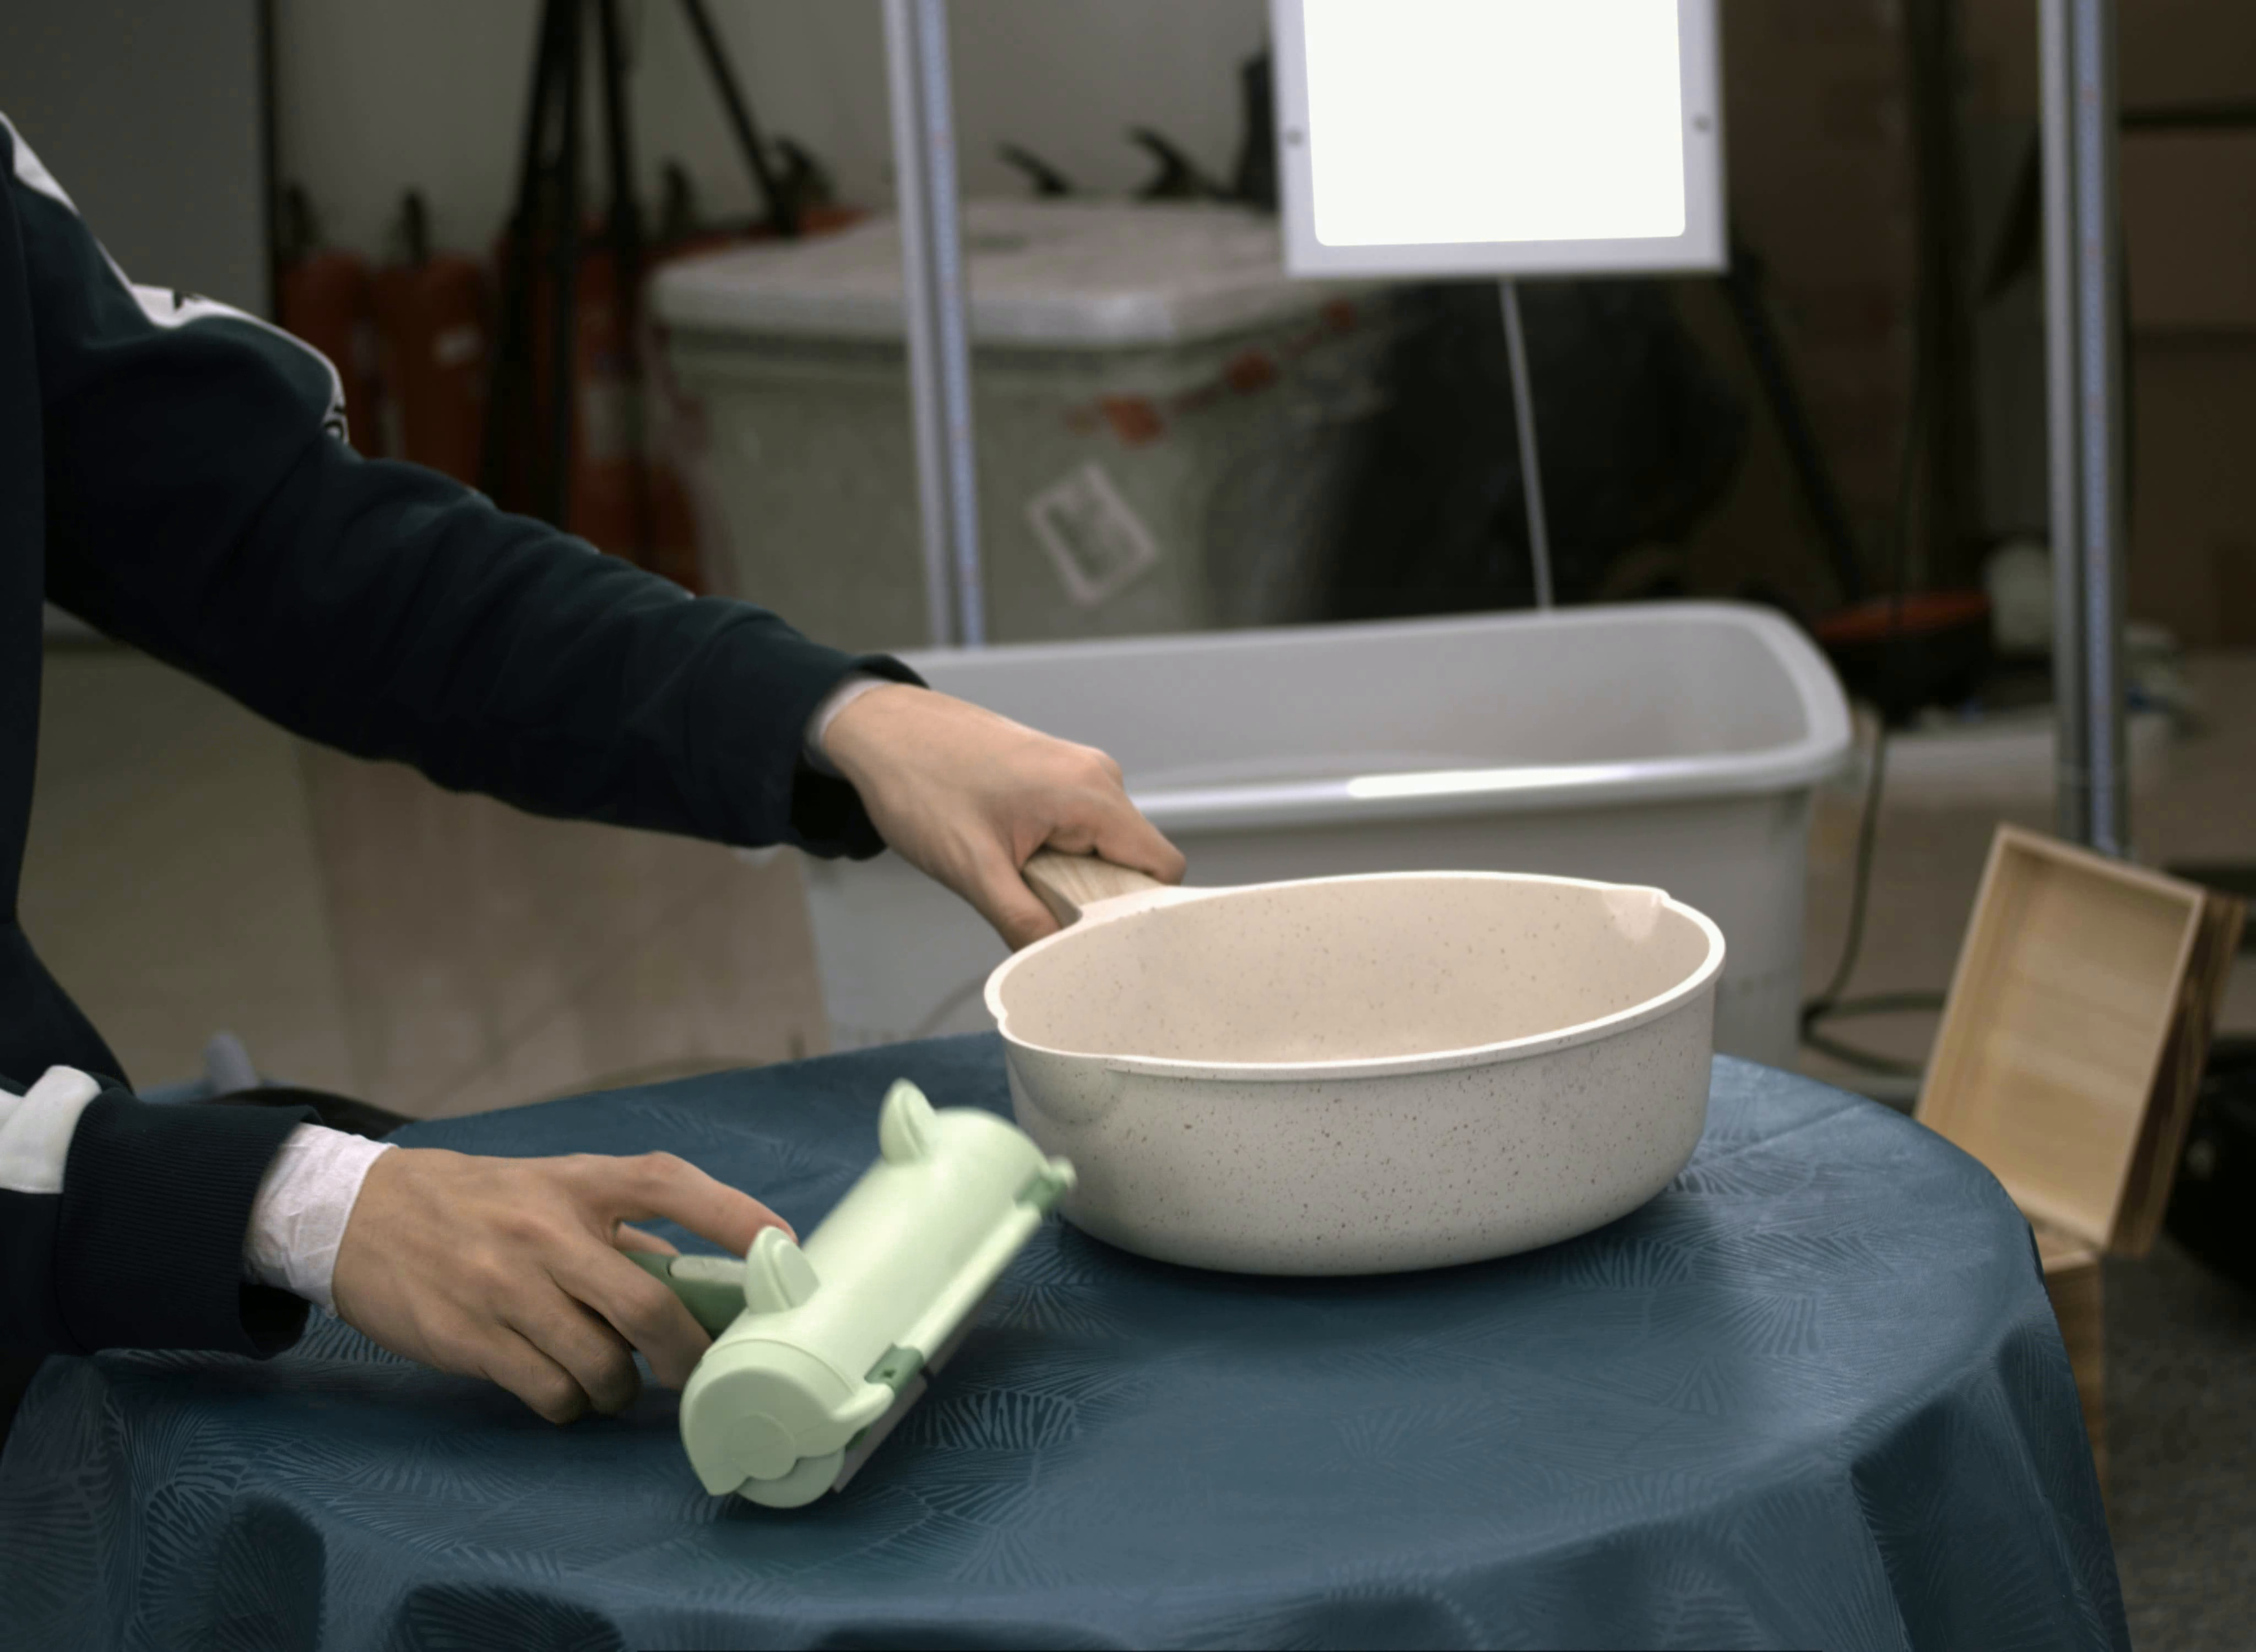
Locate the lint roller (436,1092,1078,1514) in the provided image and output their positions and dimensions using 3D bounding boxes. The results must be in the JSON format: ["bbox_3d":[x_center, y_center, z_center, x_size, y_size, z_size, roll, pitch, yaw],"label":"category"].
[{"bbox_3d":[-0.130,0.134,1.703,0.185,0.082,0.195,8,20,18],"label":"lint roller"}]

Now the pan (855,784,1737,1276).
[{"bbox_3d":[0.032,0.063,1.933,0.257,0.102,0.443,-15,16,-30],"label":"pan"}]
